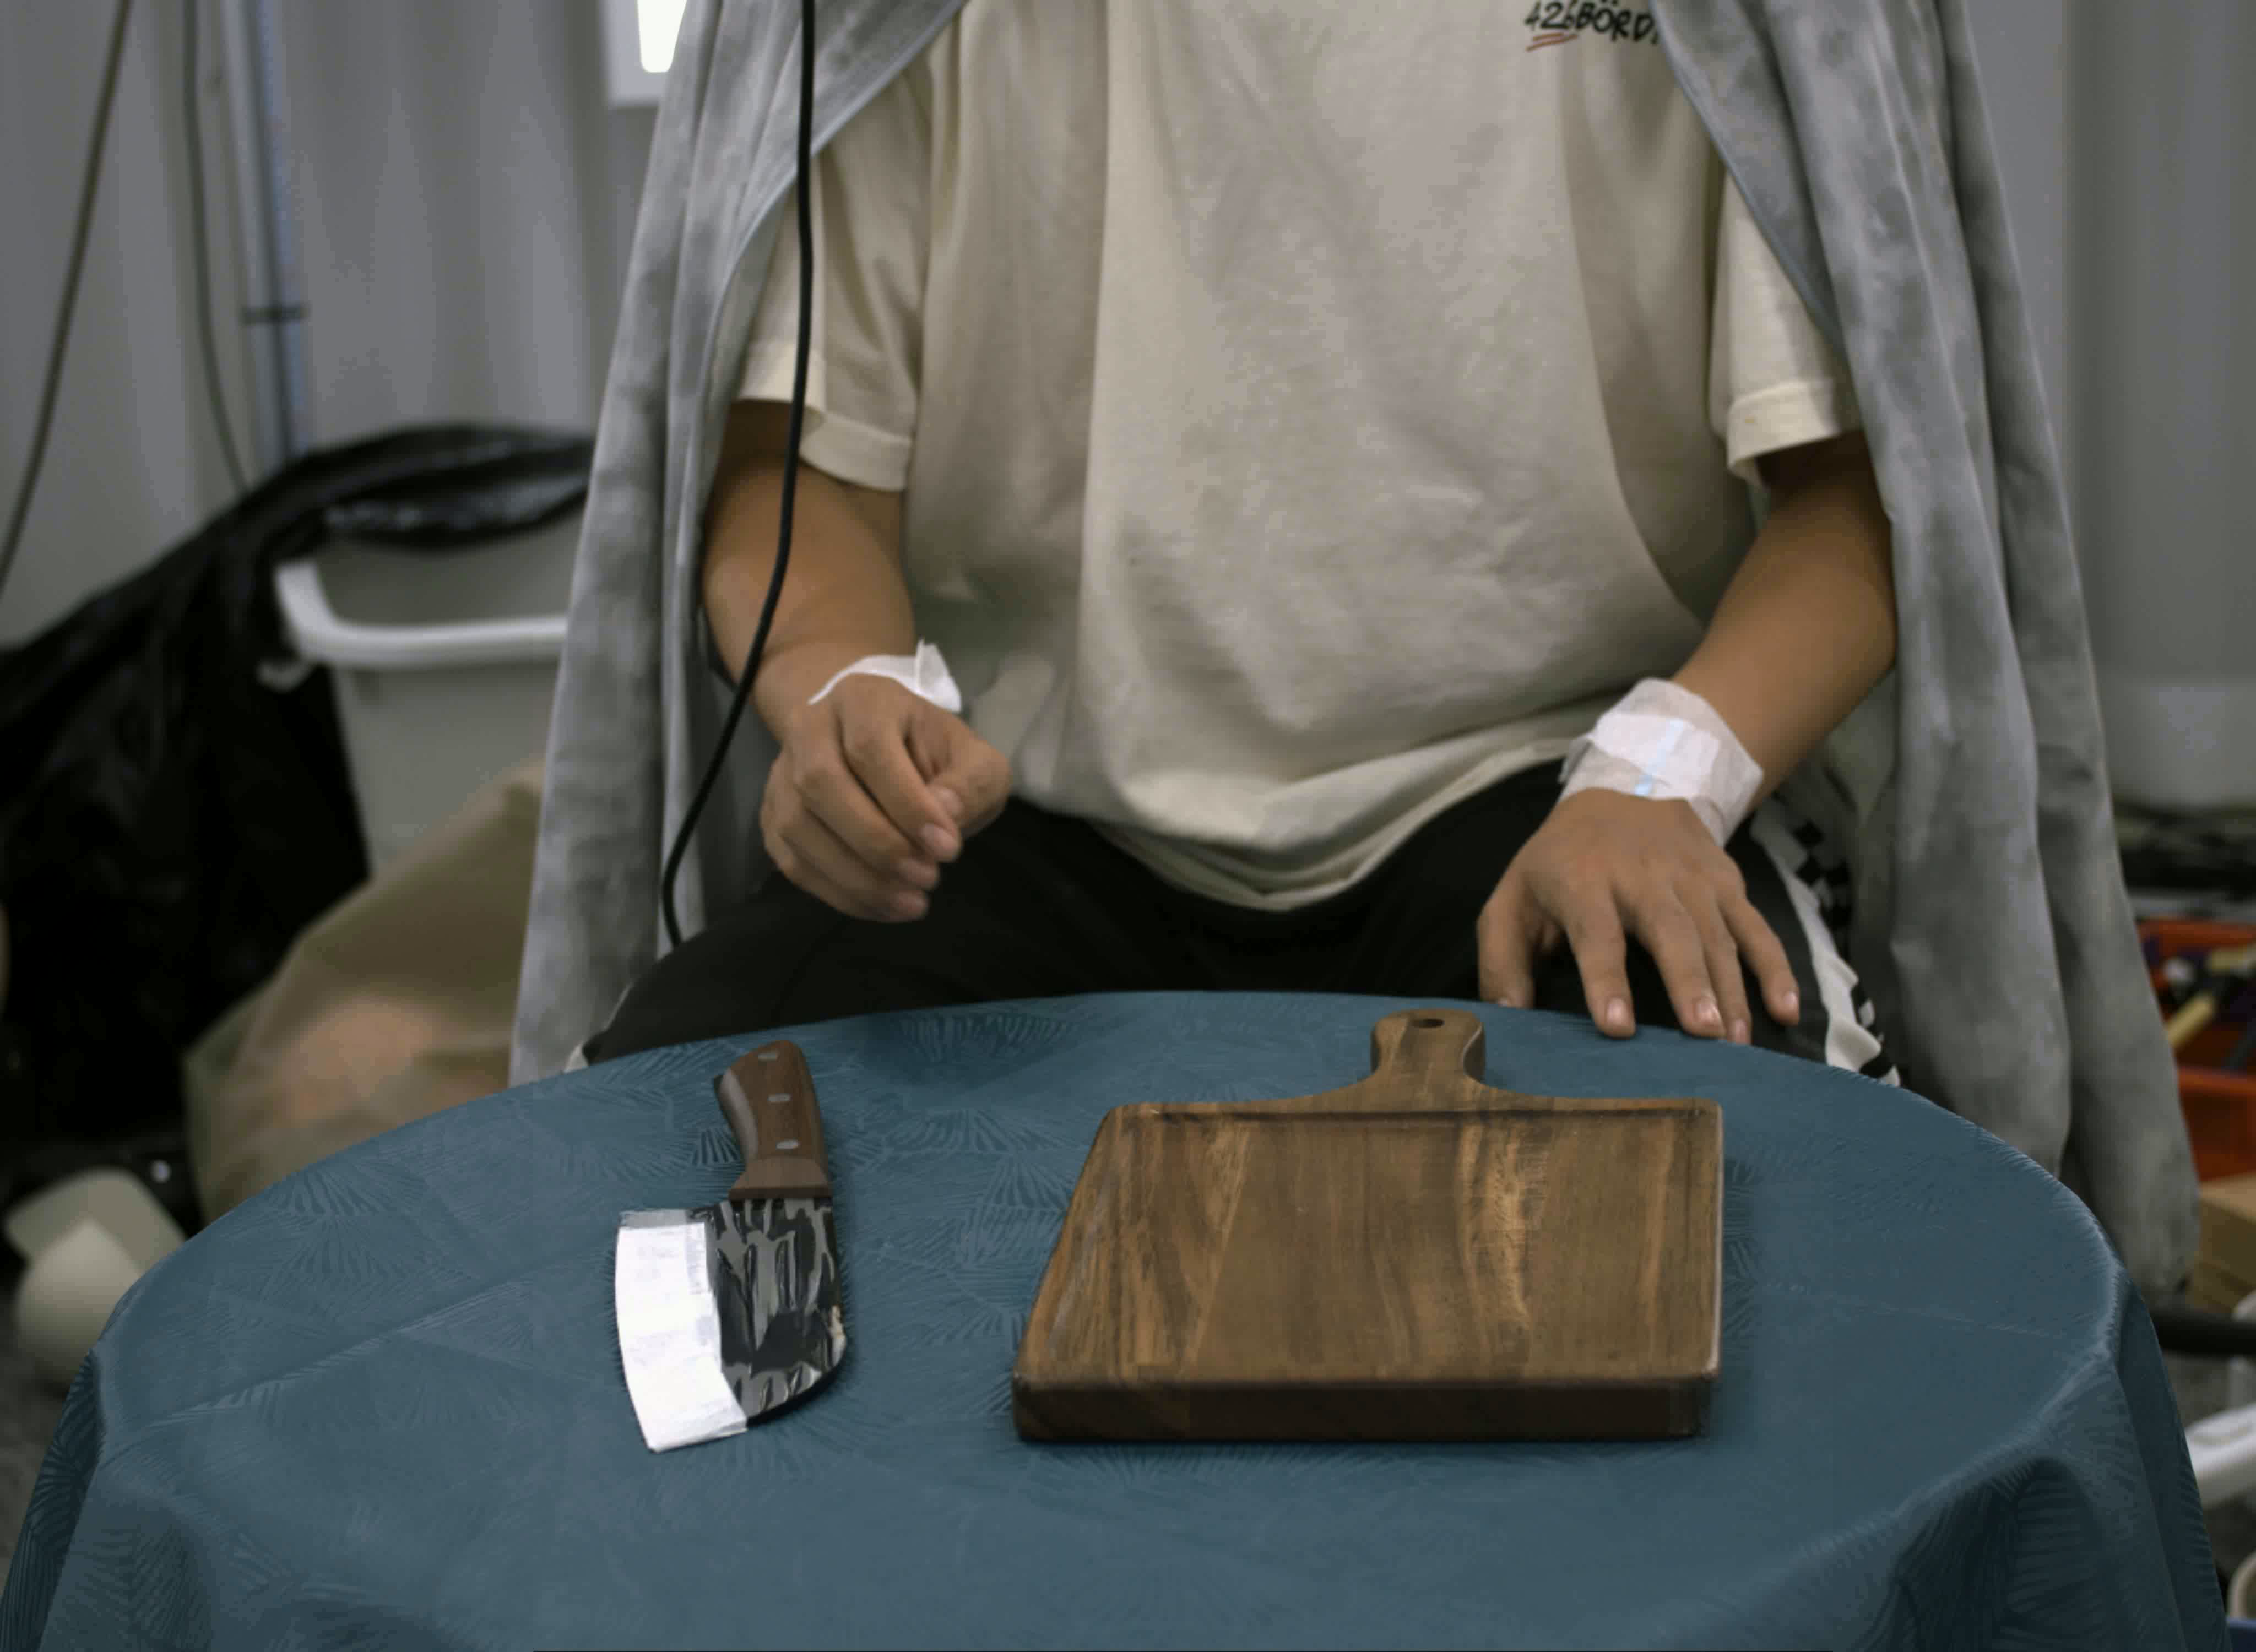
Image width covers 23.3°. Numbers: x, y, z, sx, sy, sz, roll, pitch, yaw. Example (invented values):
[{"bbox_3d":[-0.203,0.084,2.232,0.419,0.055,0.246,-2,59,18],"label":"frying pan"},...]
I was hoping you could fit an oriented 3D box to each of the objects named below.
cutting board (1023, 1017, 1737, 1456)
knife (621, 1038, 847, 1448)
[{"bbox_3d":[0.082,0.117,1.664,0.200,0.023,0.354,-3,14,7],"label":"cutting board"},{"bbox_3d":[-0.121,0.126,1.664,0.068,0.024,0.302,-6,18,-2],"label":"knife"}]
